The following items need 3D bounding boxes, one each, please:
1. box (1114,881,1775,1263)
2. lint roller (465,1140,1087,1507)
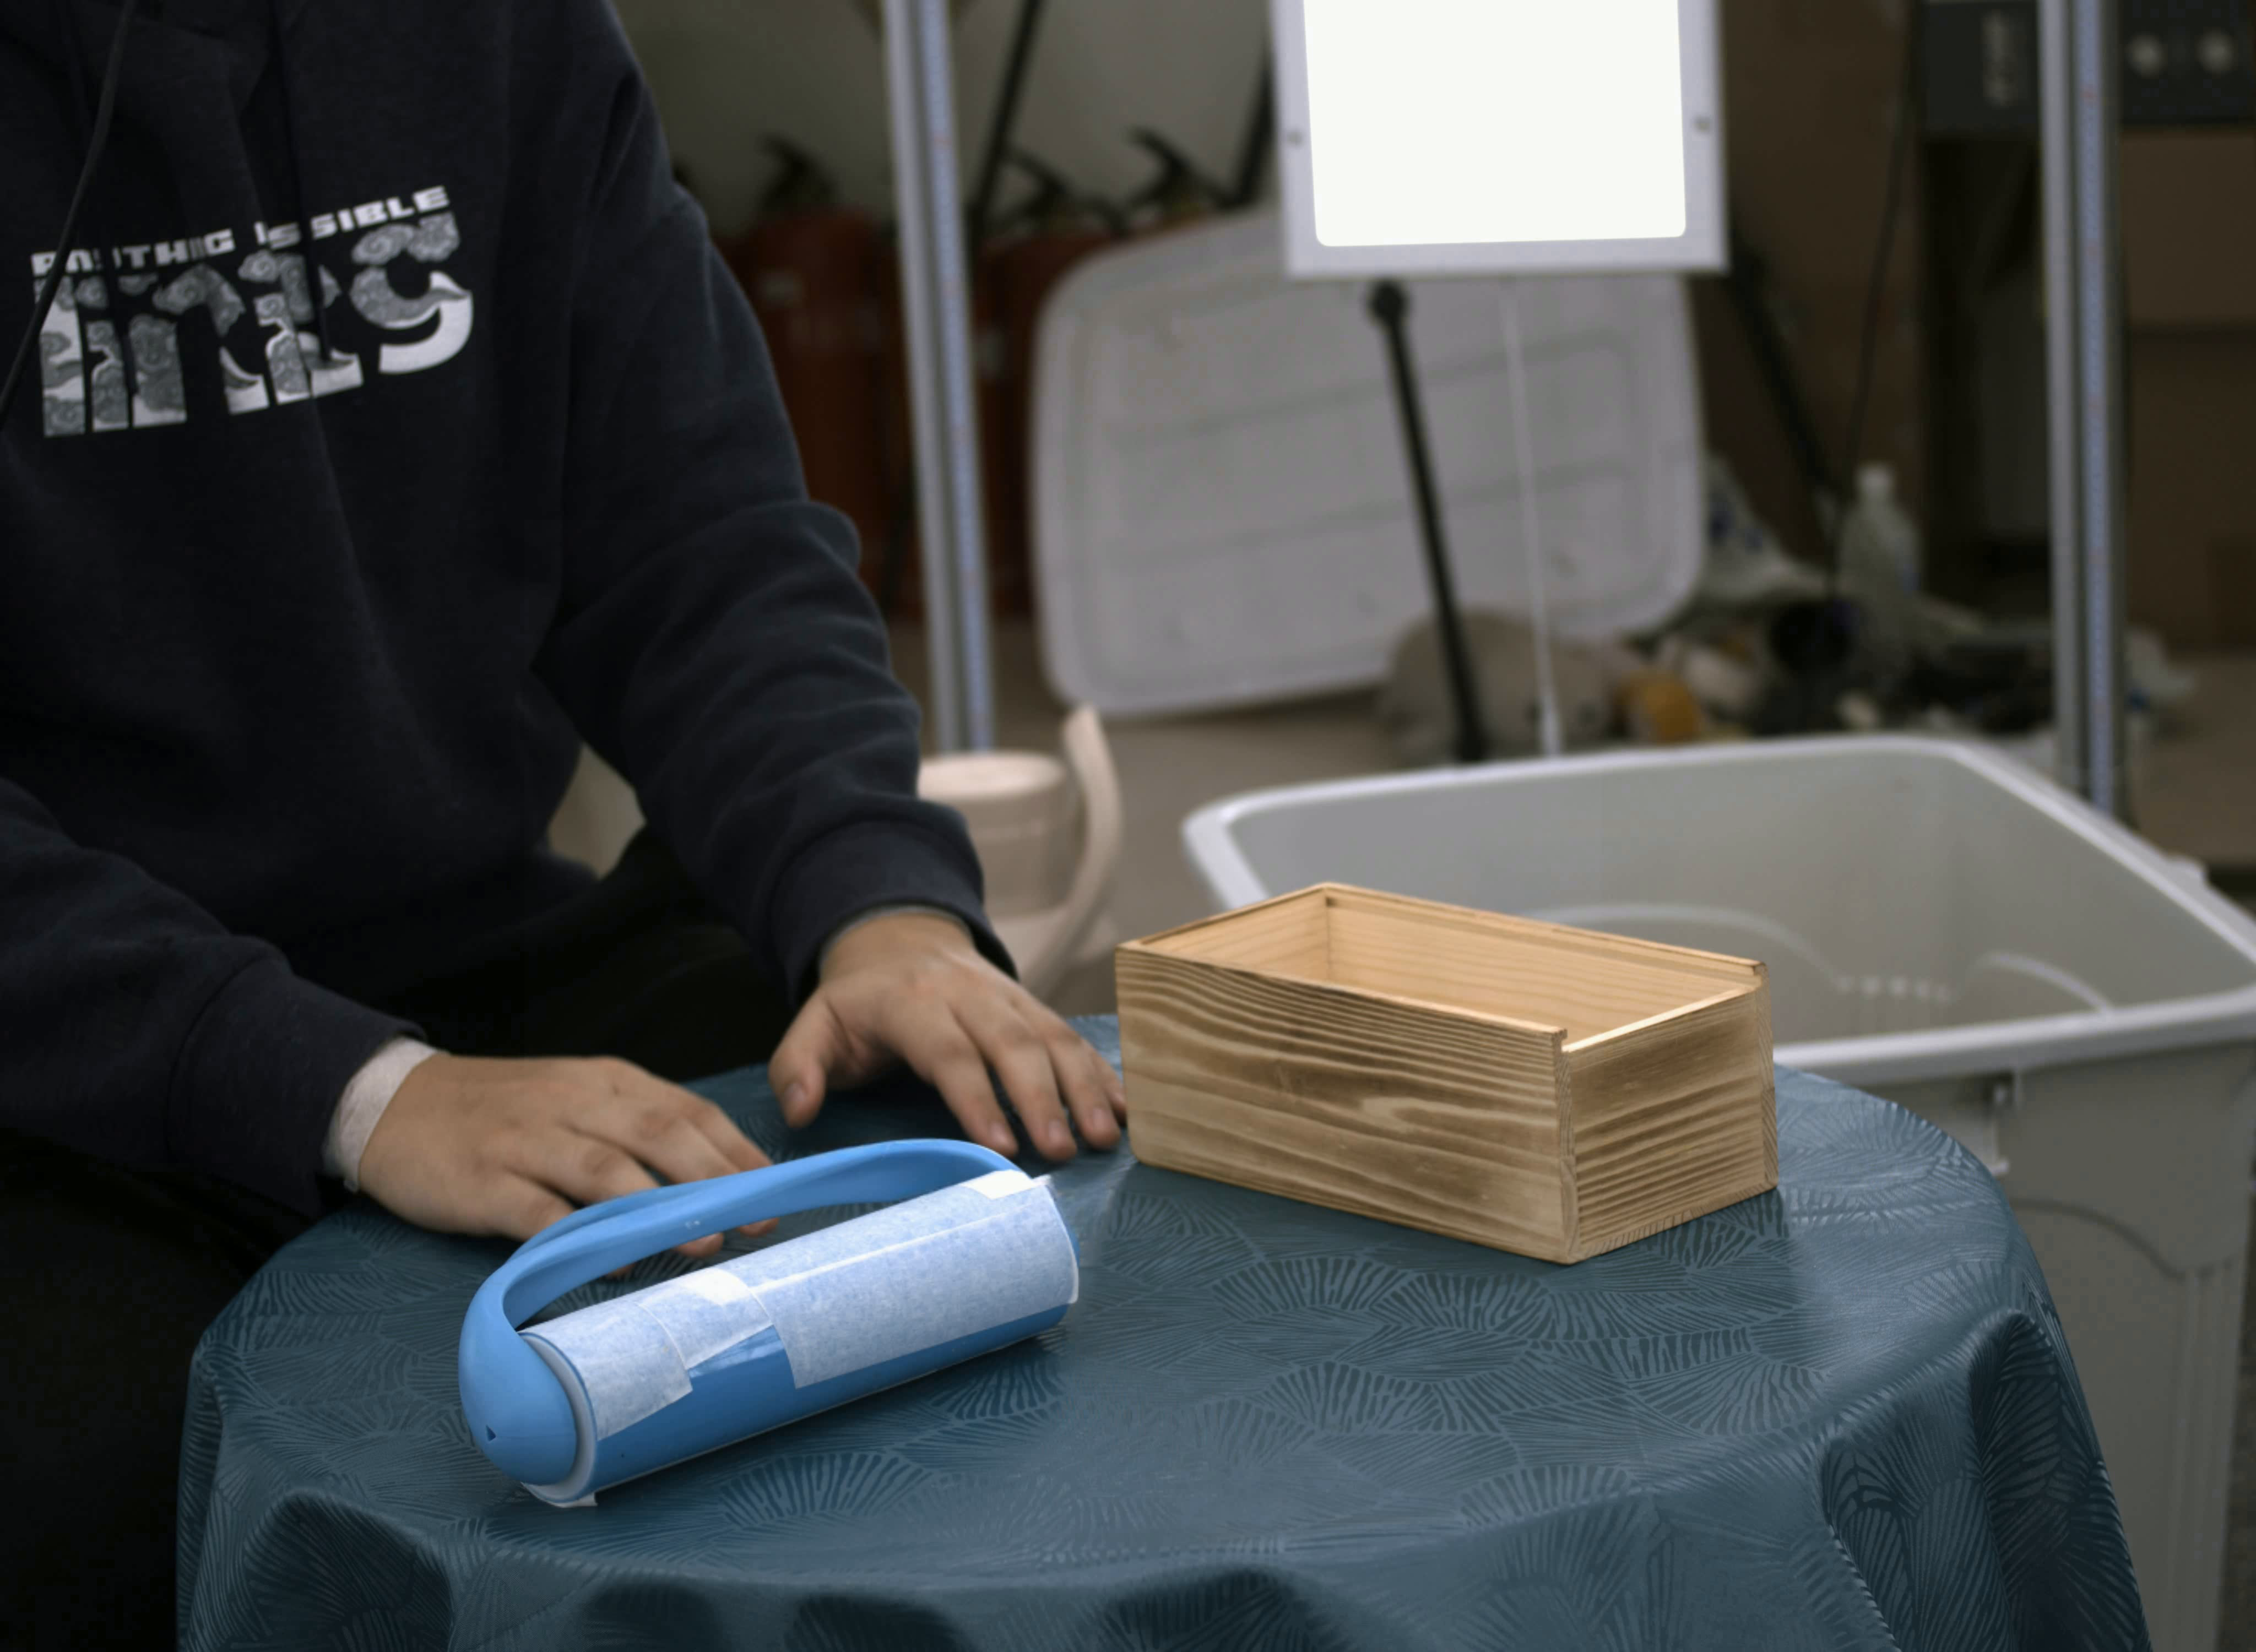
[{"bbox_3d":[0.107,0.081,1.880,0.105,0.080,0.216,-16,17,-40],"label":"box"},{"bbox_3d":[-0.144,0.146,1.741,0.223,0.068,0.184,-19,21,-40],"label":"lint roller"}]
